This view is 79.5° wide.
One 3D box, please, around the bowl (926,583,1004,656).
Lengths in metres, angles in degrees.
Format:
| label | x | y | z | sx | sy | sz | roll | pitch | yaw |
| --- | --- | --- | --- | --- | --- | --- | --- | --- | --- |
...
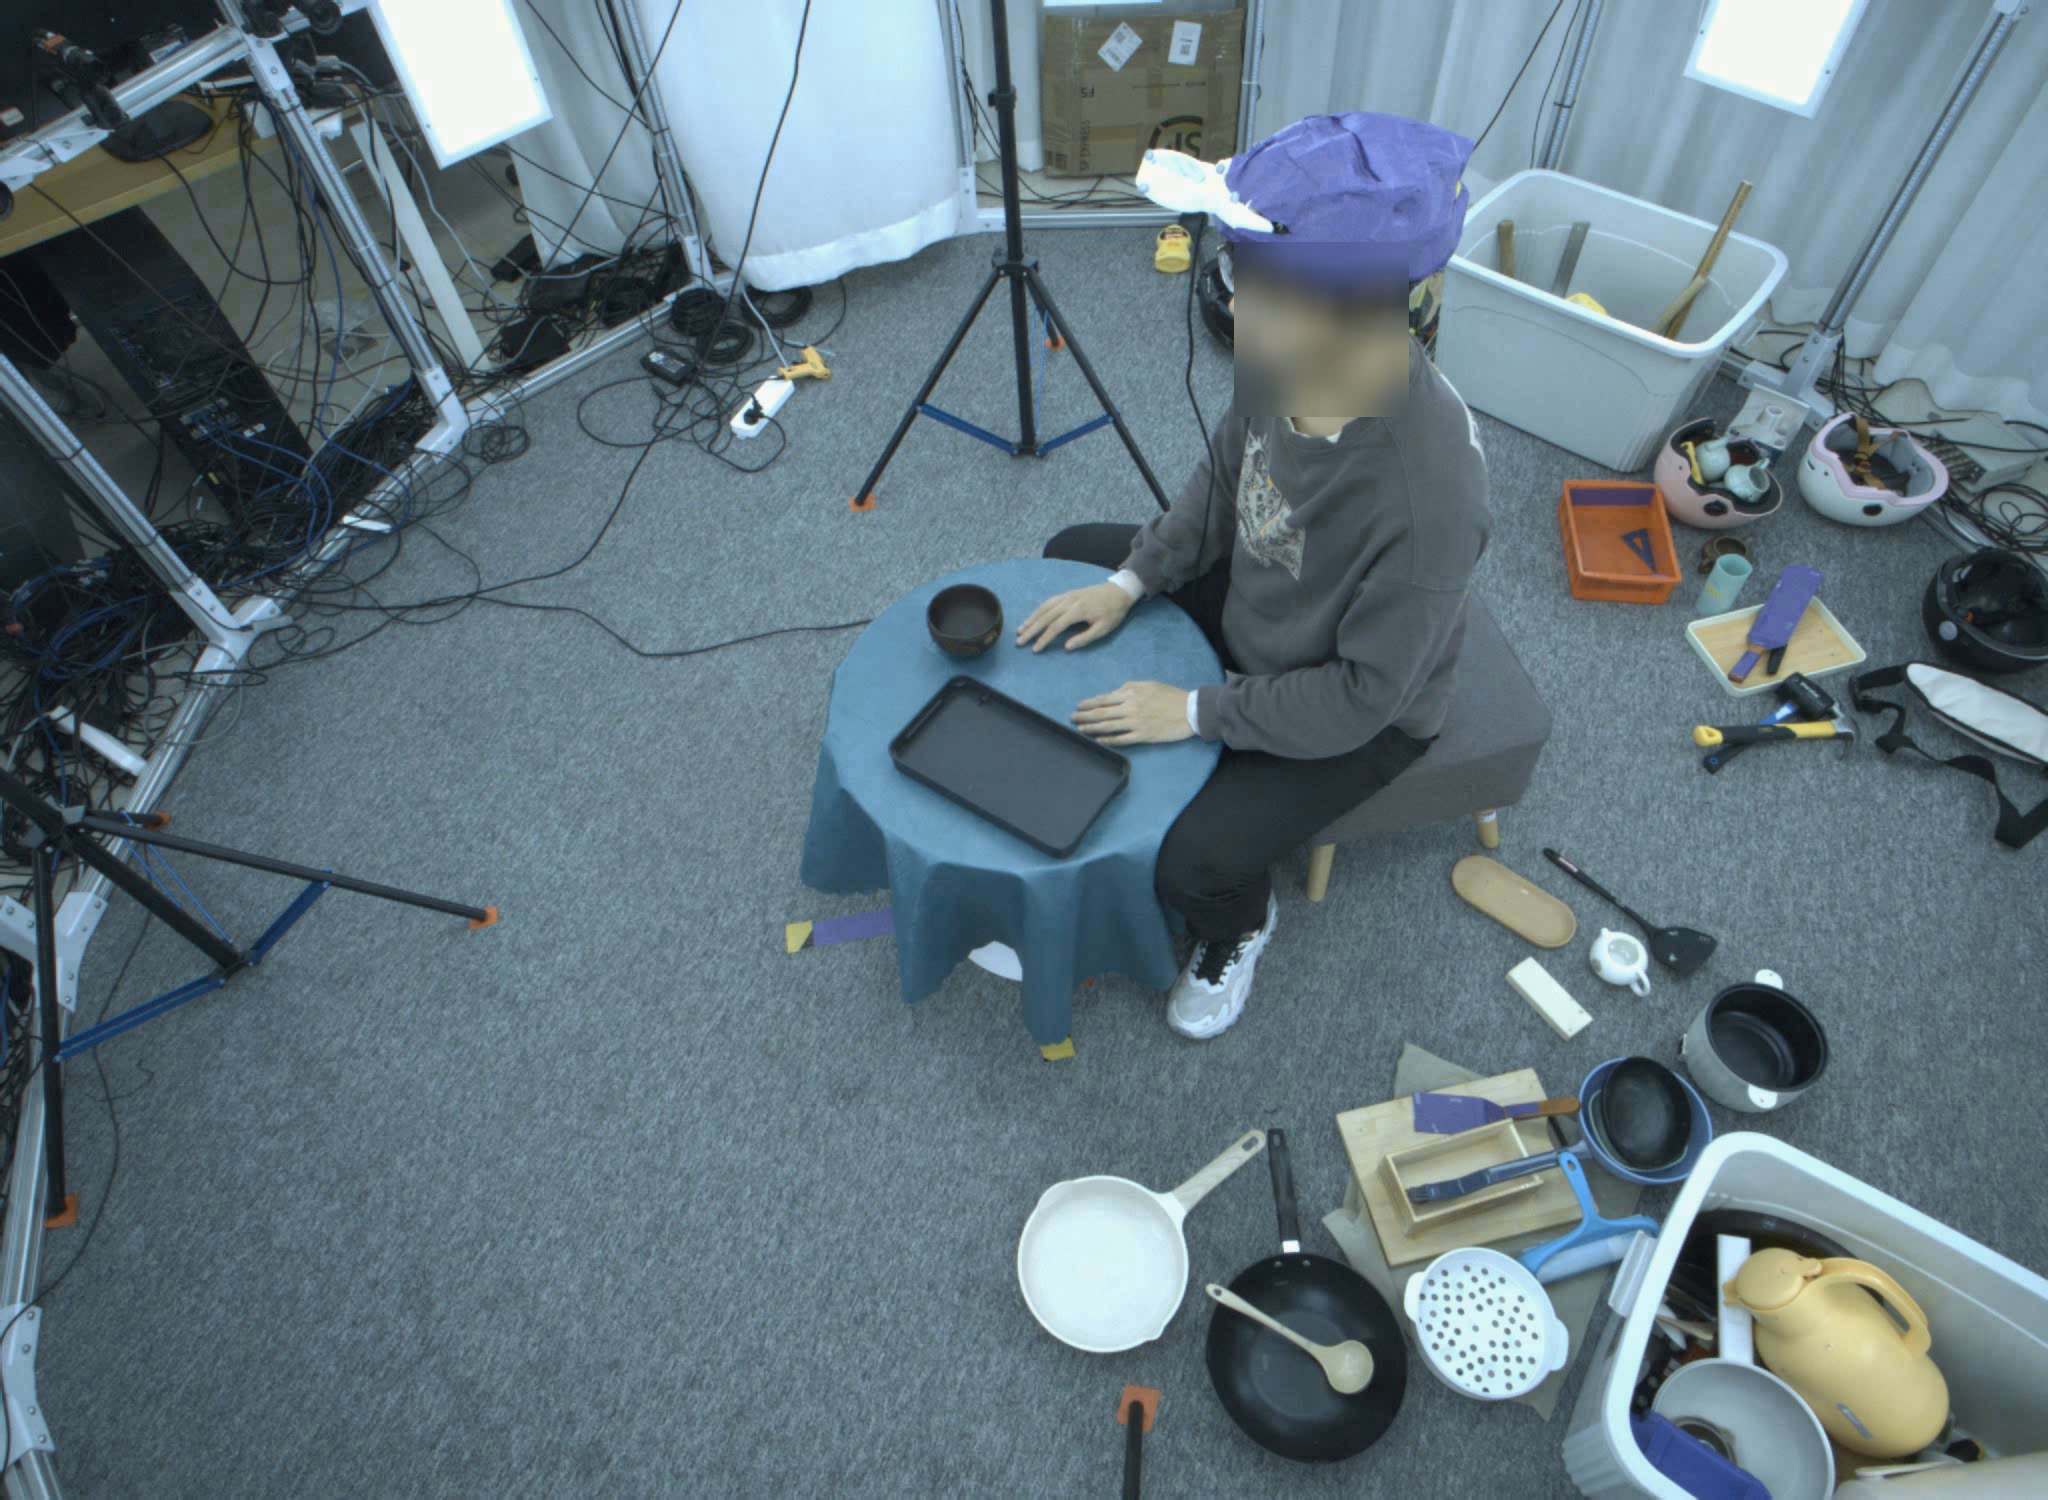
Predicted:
| label | x | y | z | sx | sy | sz | roll | pitch | yaw |
| --- | --- | --- | --- | --- | --- | --- | --- | --- | --- |
| bowl | -0.090 | -0.192 | 1.882 | 0.118 | 0.070 | 0.117 | 0 | 53 | 1 |

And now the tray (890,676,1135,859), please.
| label | x | y | z | sx | sy | sz | roll | pitch | yaw |
| --- | --- | --- | --- | --- | --- | --- | --- | --- | --- |
| tray | -0.017 | 0.021 | 1.749 | 0.313 | 0.037 | 0.185 | 26 | 59 | 20 |
